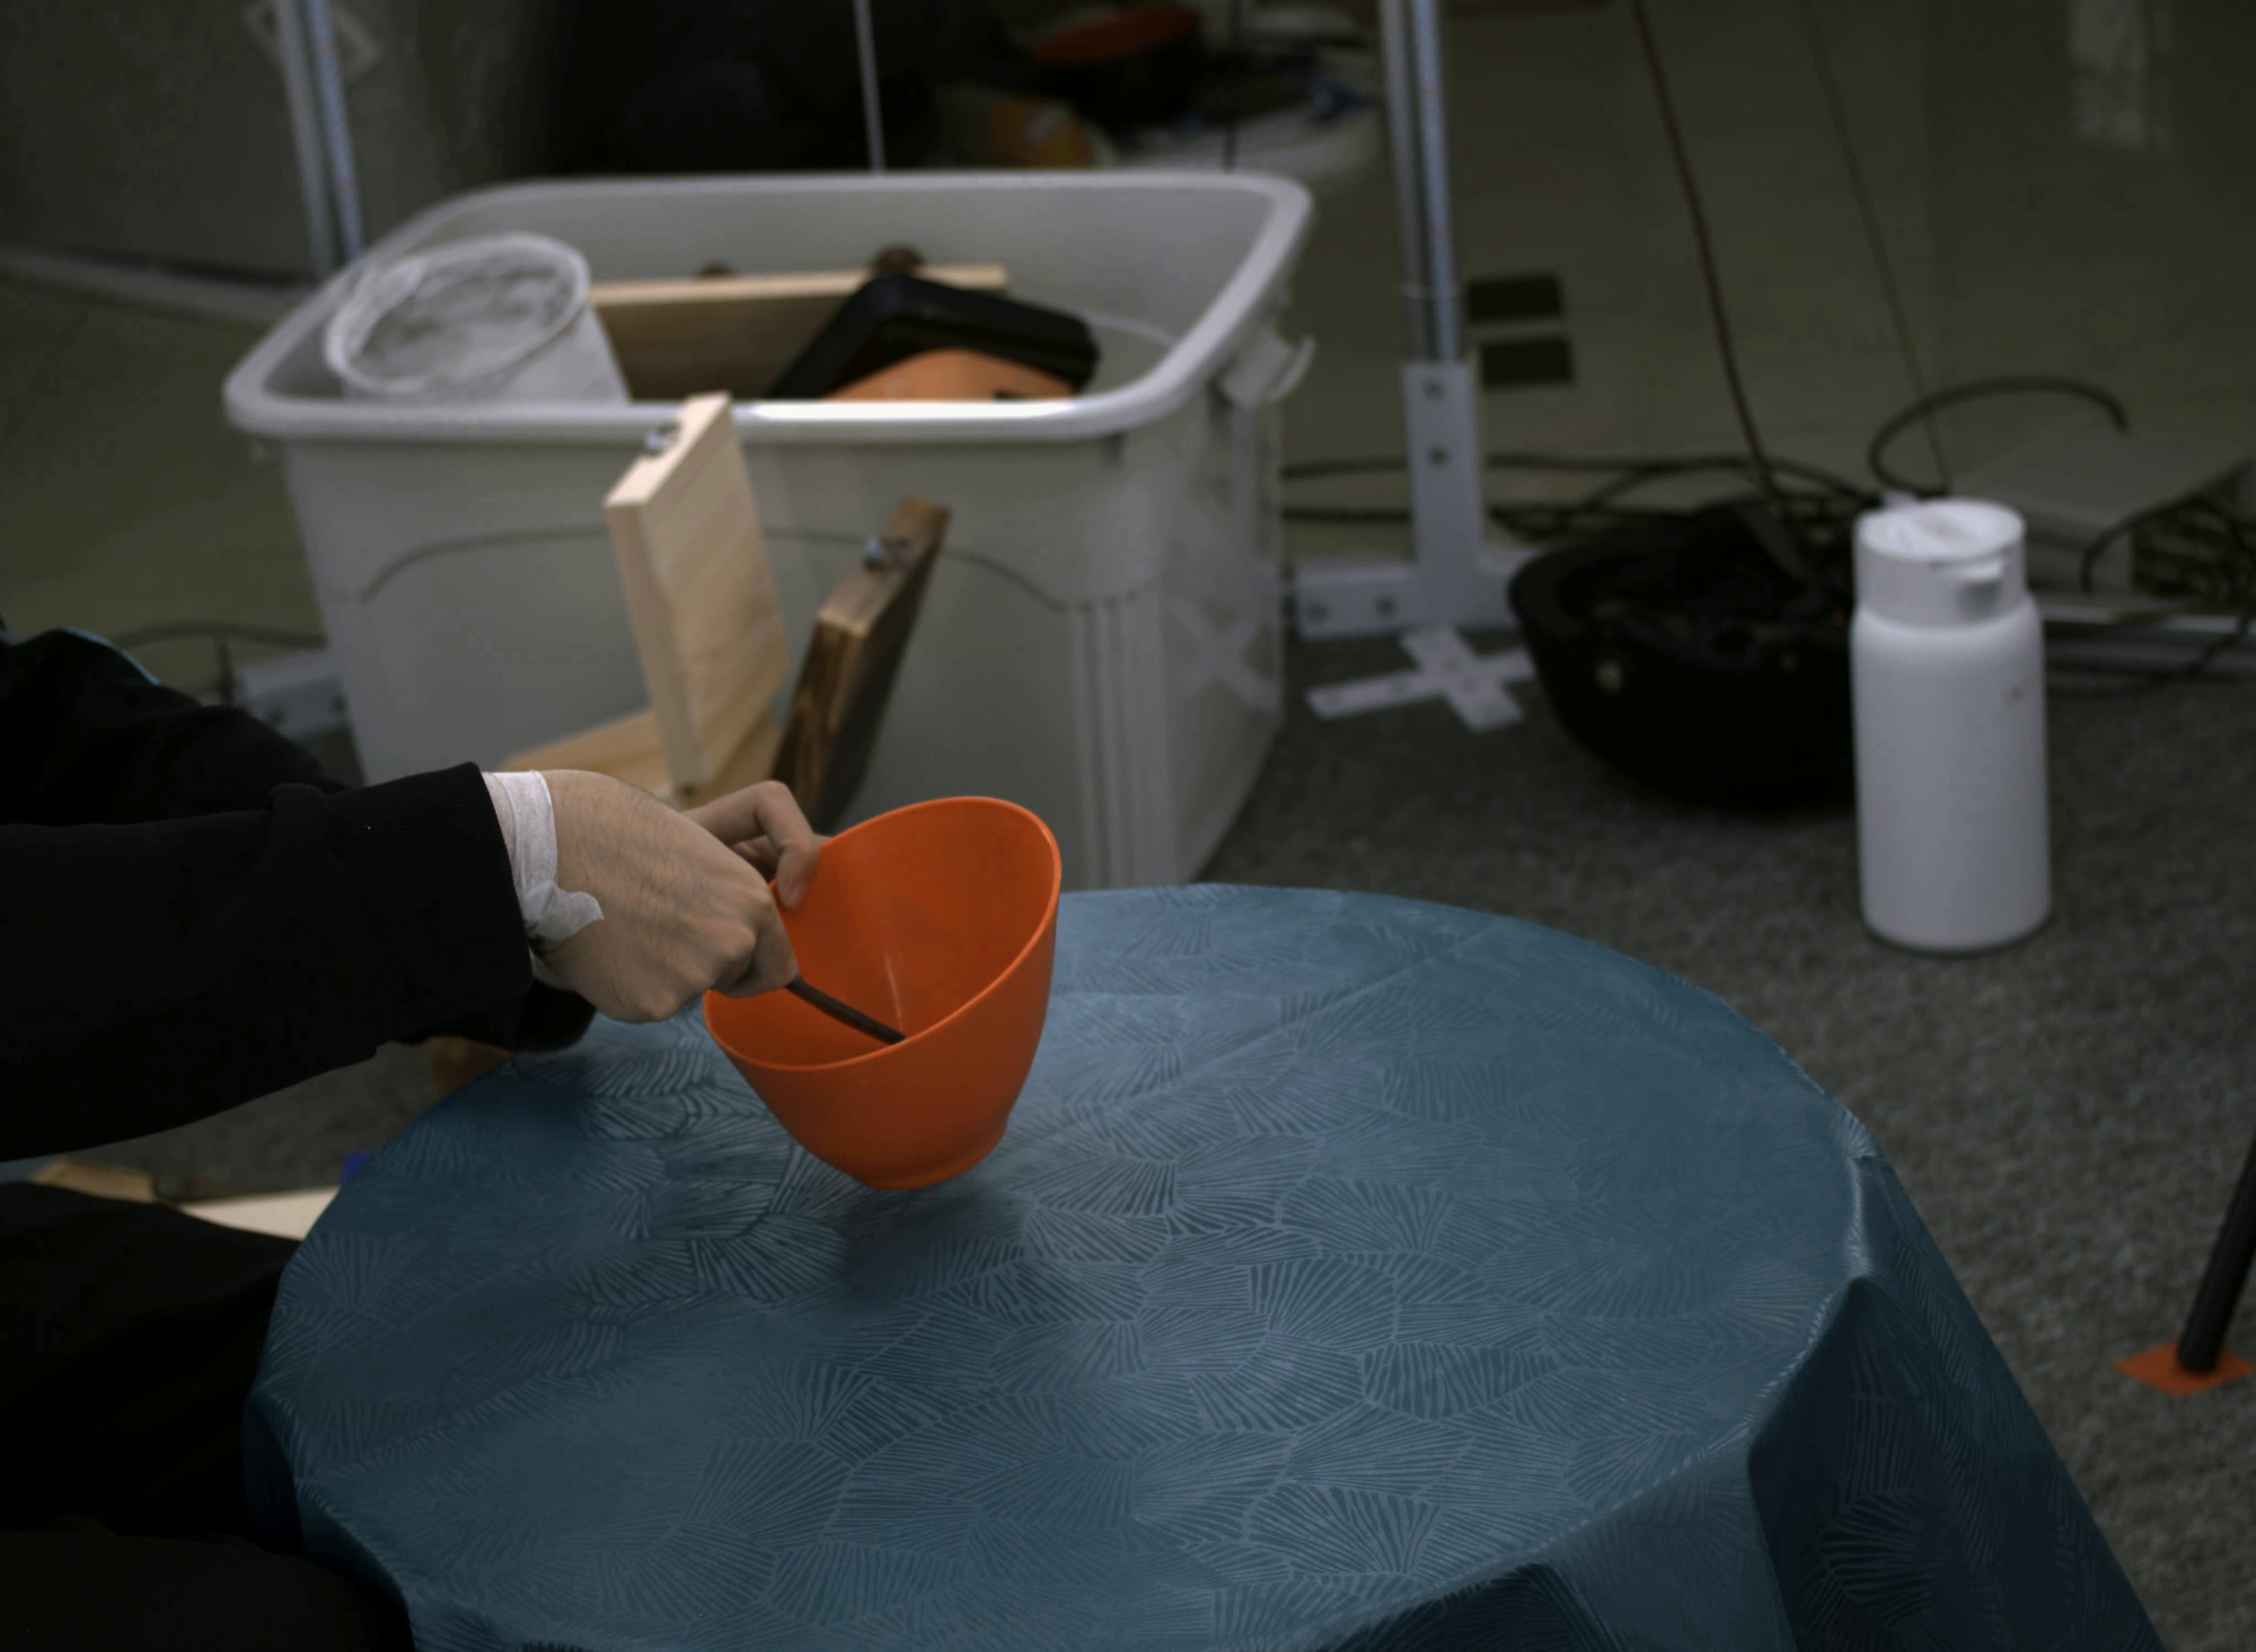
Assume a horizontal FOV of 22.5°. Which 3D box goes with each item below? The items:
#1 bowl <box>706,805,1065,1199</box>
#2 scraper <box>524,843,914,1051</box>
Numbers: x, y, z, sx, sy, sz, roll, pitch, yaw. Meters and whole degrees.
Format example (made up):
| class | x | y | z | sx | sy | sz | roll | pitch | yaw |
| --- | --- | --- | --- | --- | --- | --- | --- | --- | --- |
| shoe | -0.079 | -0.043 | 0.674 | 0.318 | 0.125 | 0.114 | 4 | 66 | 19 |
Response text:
| class | x | y | z | sx | sy | sz | roll | pitch | yaw |
| --- | --- | --- | --- | --- | --- | --- | --- | --- | --- |
| bowl | -0.080 | 0.076 | 2.151 | 0.148 | 0.106 | 0.145 | -13 | 32 | 9 |
| scraper | -0.136 | 0.053 | 2.118 | 0.213 | 0.011 | 0.075 | 29 | -6 | -29 |
